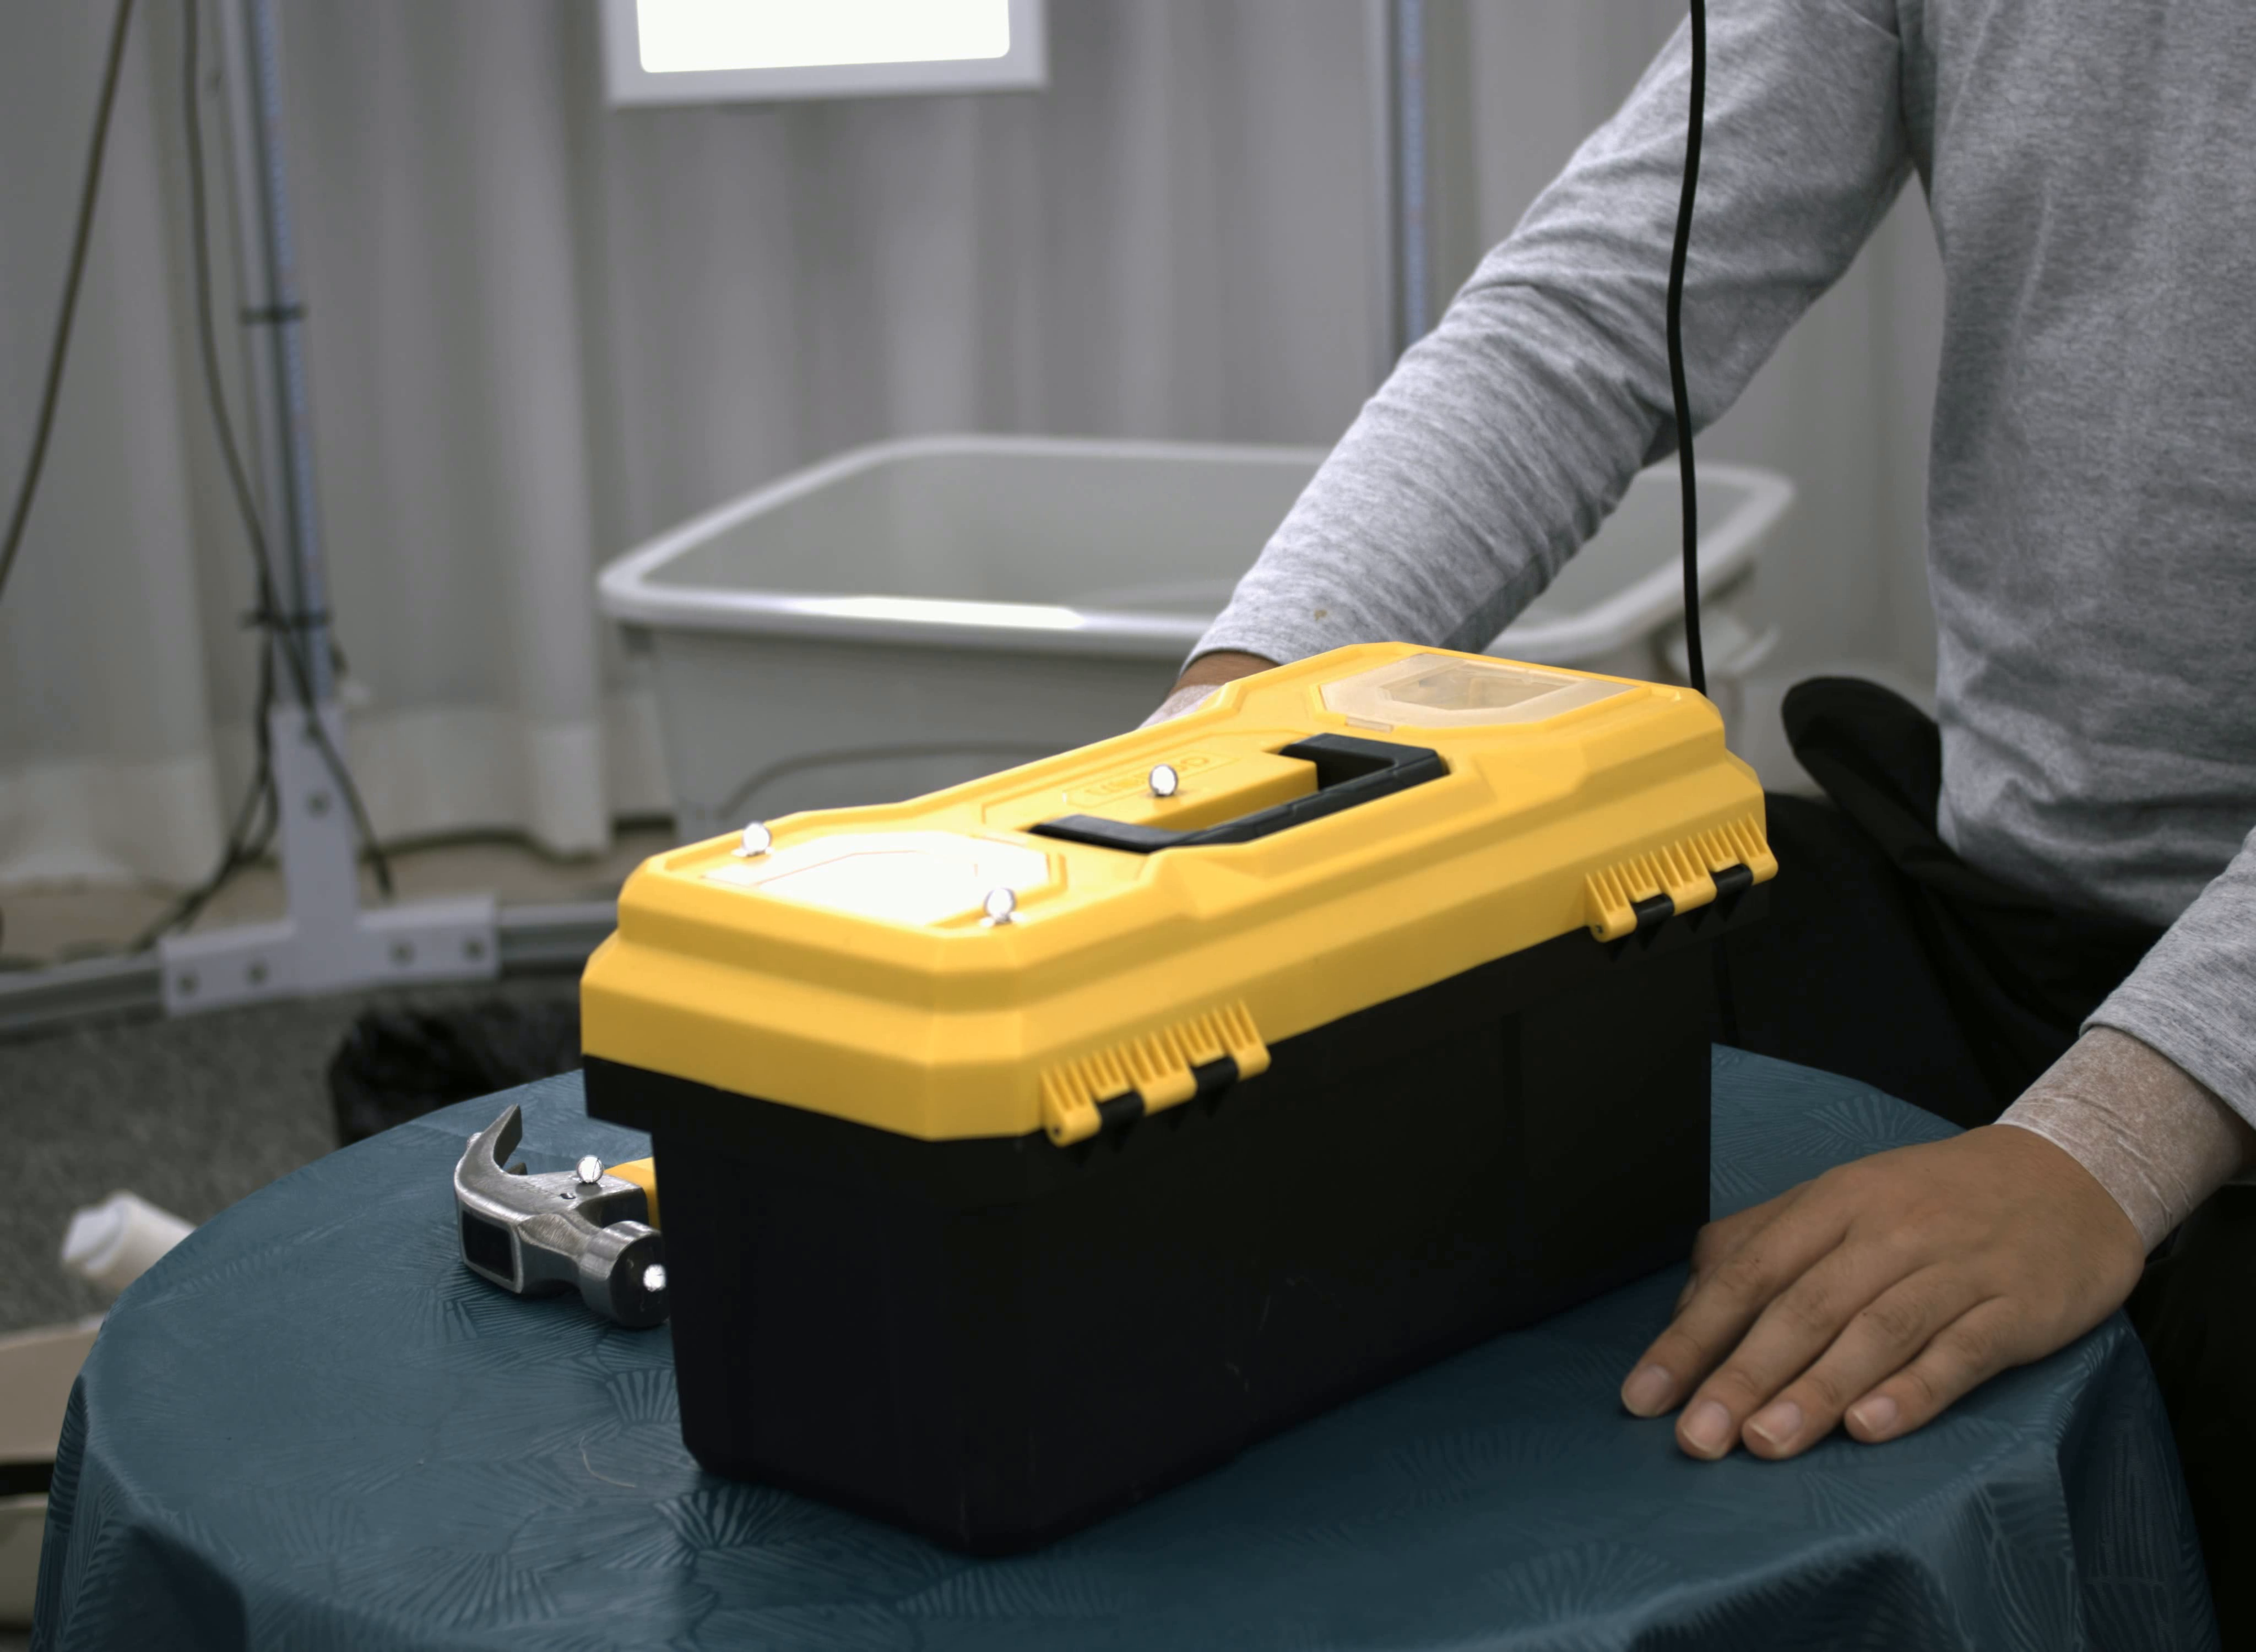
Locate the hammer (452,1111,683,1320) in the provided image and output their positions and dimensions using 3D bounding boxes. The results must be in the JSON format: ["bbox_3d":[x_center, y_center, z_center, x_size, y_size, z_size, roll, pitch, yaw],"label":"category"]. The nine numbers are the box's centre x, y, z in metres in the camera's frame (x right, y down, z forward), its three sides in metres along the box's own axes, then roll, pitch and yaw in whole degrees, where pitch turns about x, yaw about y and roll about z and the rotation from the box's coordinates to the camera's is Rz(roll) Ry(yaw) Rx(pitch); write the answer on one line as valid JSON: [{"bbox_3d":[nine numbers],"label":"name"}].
[{"bbox_3d":[-0.065,0.095,1.752,0.337,0.032,0.132,-13,16,-37],"label":"hammer"}]

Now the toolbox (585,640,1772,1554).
[{"bbox_3d":[0.022,0.068,1.553,0.182,0.172,0.351,10,19,43],"label":"toolbox"}]
